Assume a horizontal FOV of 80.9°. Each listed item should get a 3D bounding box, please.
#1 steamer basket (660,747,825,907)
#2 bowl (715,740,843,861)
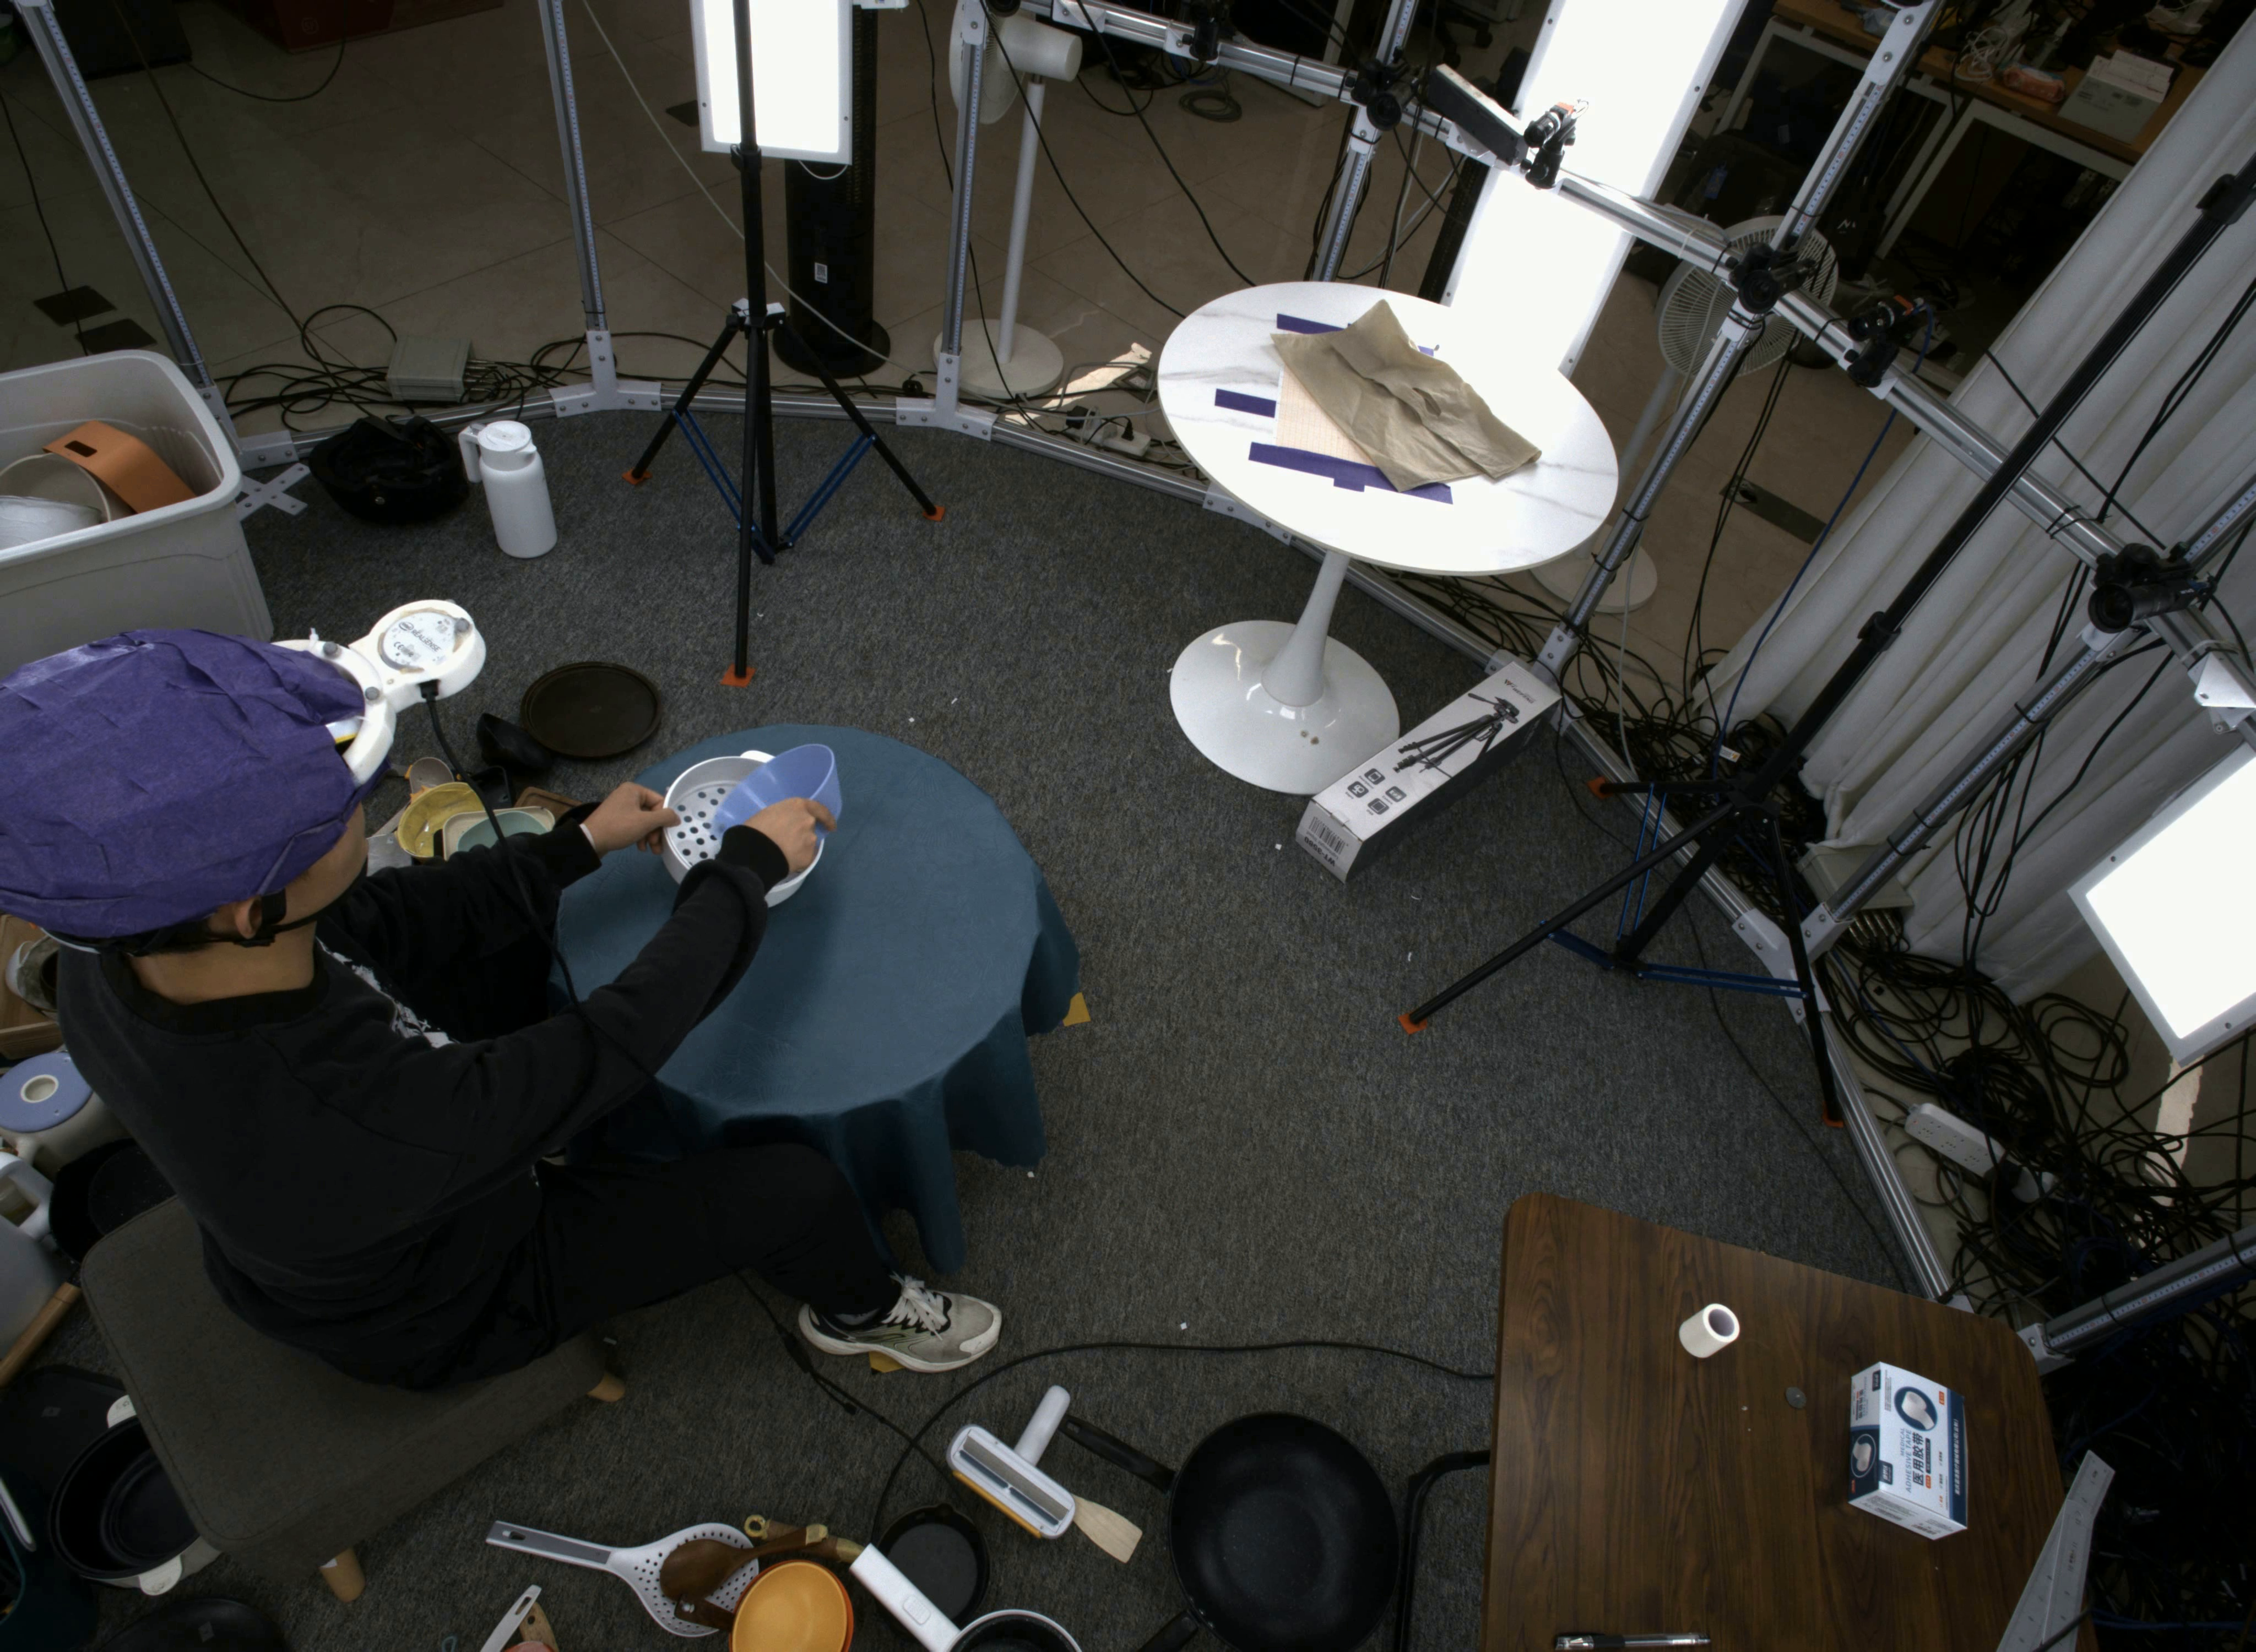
[{"bbox_3d":[-0.490,0.006,1.637,0.204,0.069,0.227,22,49,-18],"label":"steamer basket"},{"bbox_3d":[-0.418,-0.022,1.598,0.173,0.073,0.172,-22,35,18],"label":"bowl"}]
